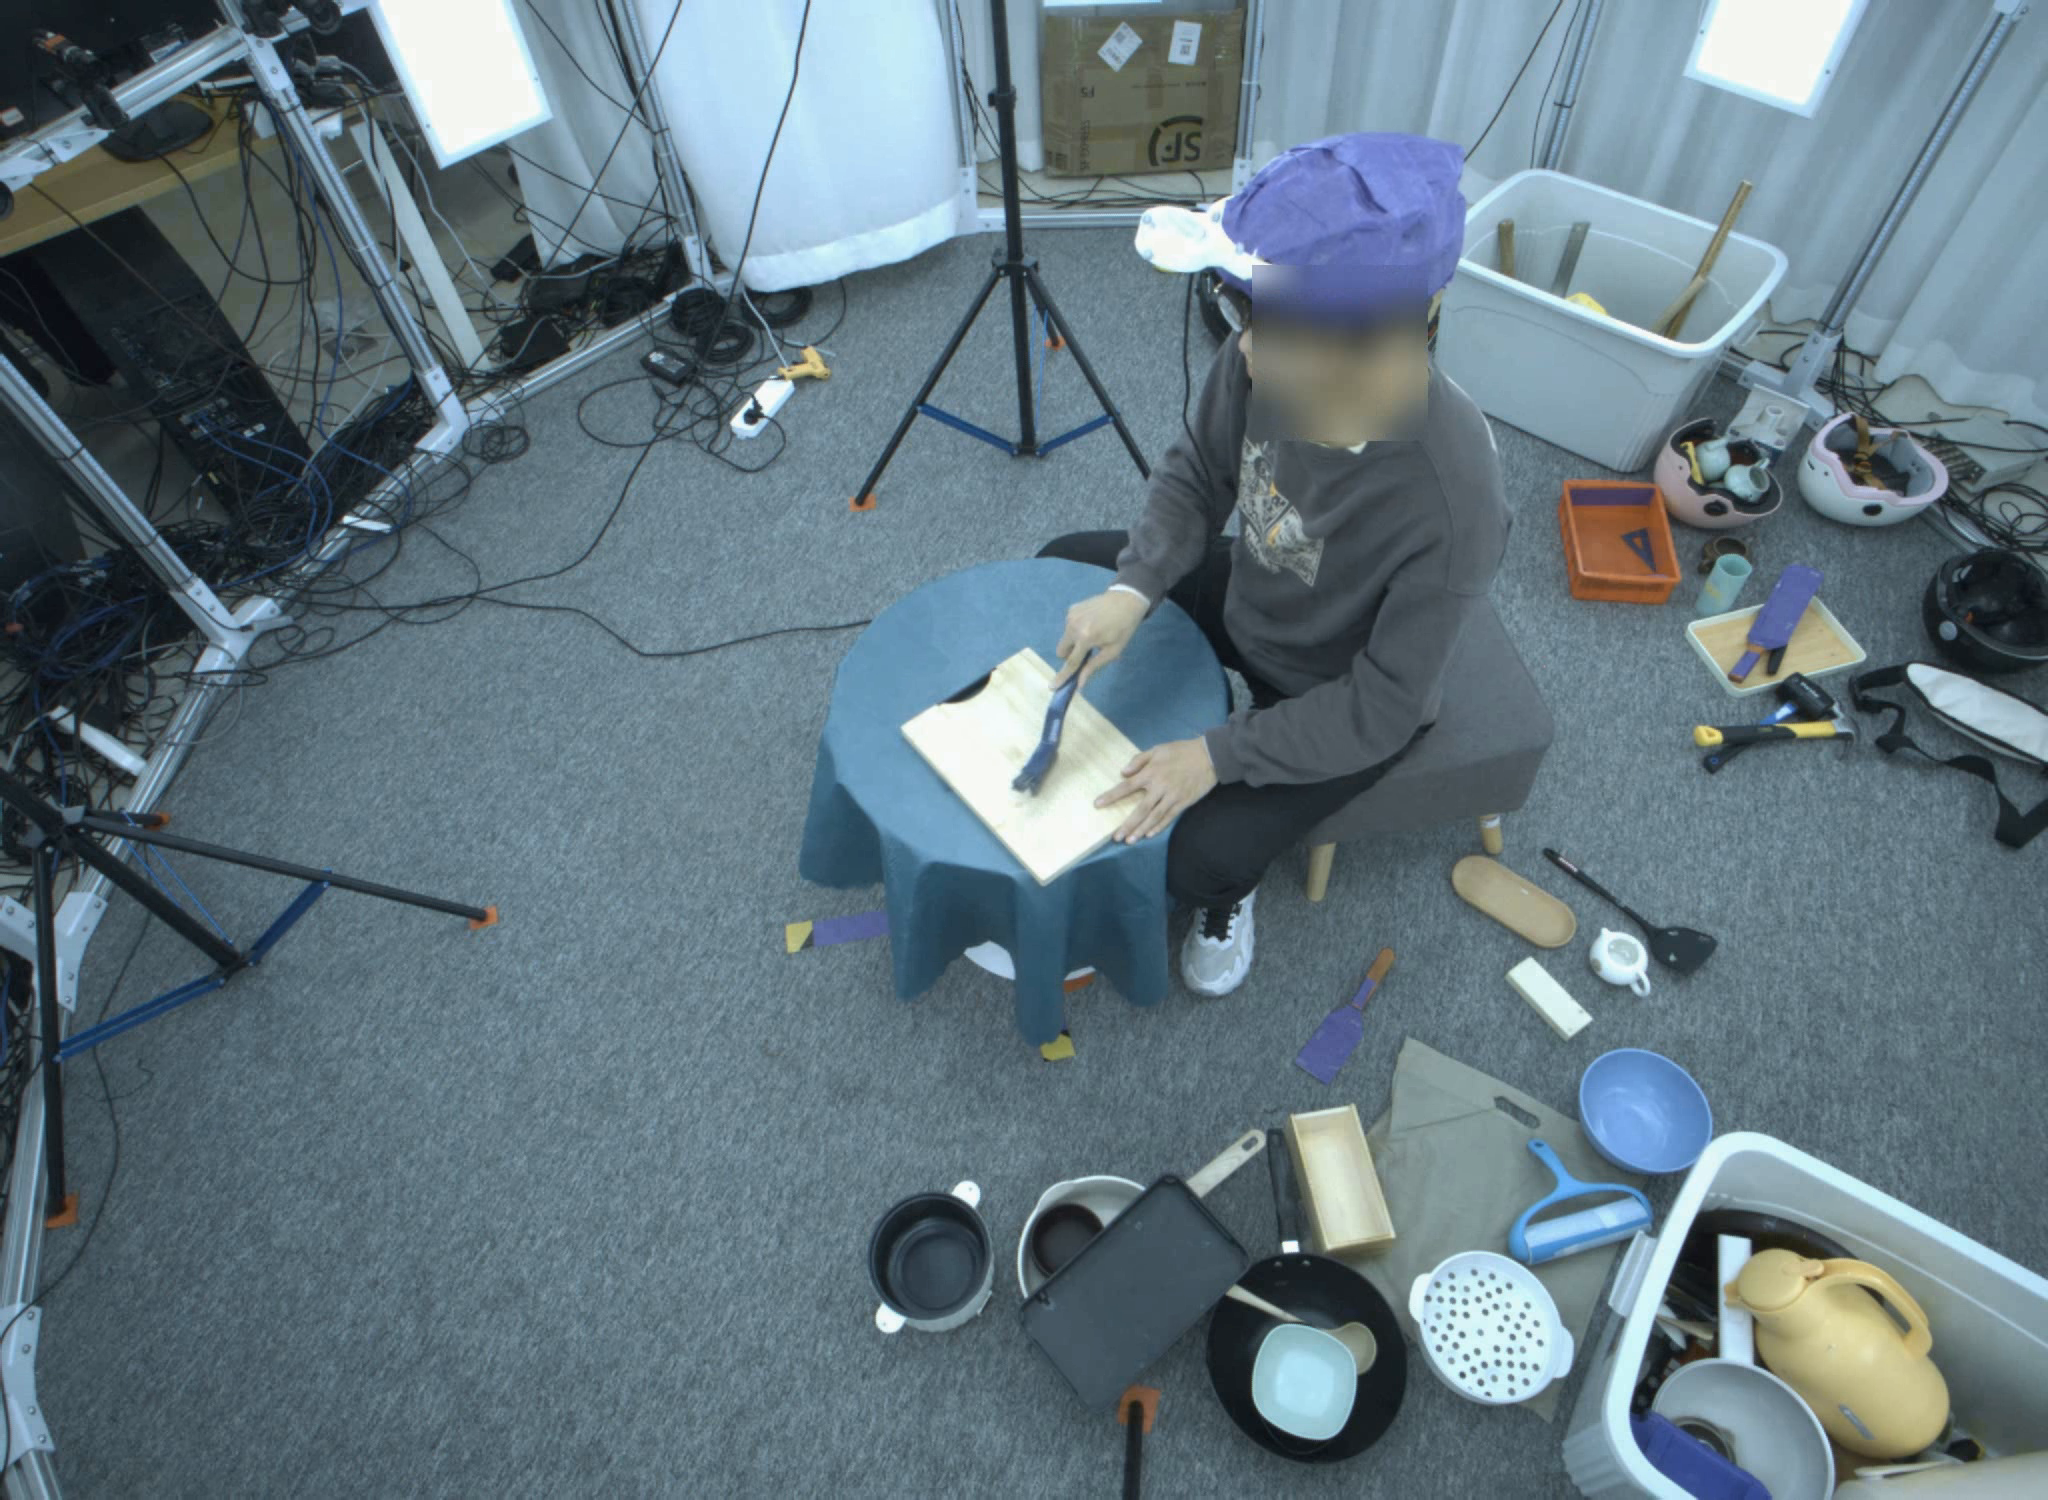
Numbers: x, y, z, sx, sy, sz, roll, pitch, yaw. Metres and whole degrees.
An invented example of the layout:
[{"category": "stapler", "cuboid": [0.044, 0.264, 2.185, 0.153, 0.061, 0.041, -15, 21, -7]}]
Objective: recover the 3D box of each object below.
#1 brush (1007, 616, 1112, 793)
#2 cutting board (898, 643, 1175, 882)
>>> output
[{"category": "brush", "cuboid": [0.052, -0.070, 1.710, 0.033, 0.098, 0.273, 16, 83, 30]}, {"category": "cutting board", "cuboid": [0.013, 0.009, 1.768, 0.253, 0.024, 0.342, -34, 60, -21]}]
